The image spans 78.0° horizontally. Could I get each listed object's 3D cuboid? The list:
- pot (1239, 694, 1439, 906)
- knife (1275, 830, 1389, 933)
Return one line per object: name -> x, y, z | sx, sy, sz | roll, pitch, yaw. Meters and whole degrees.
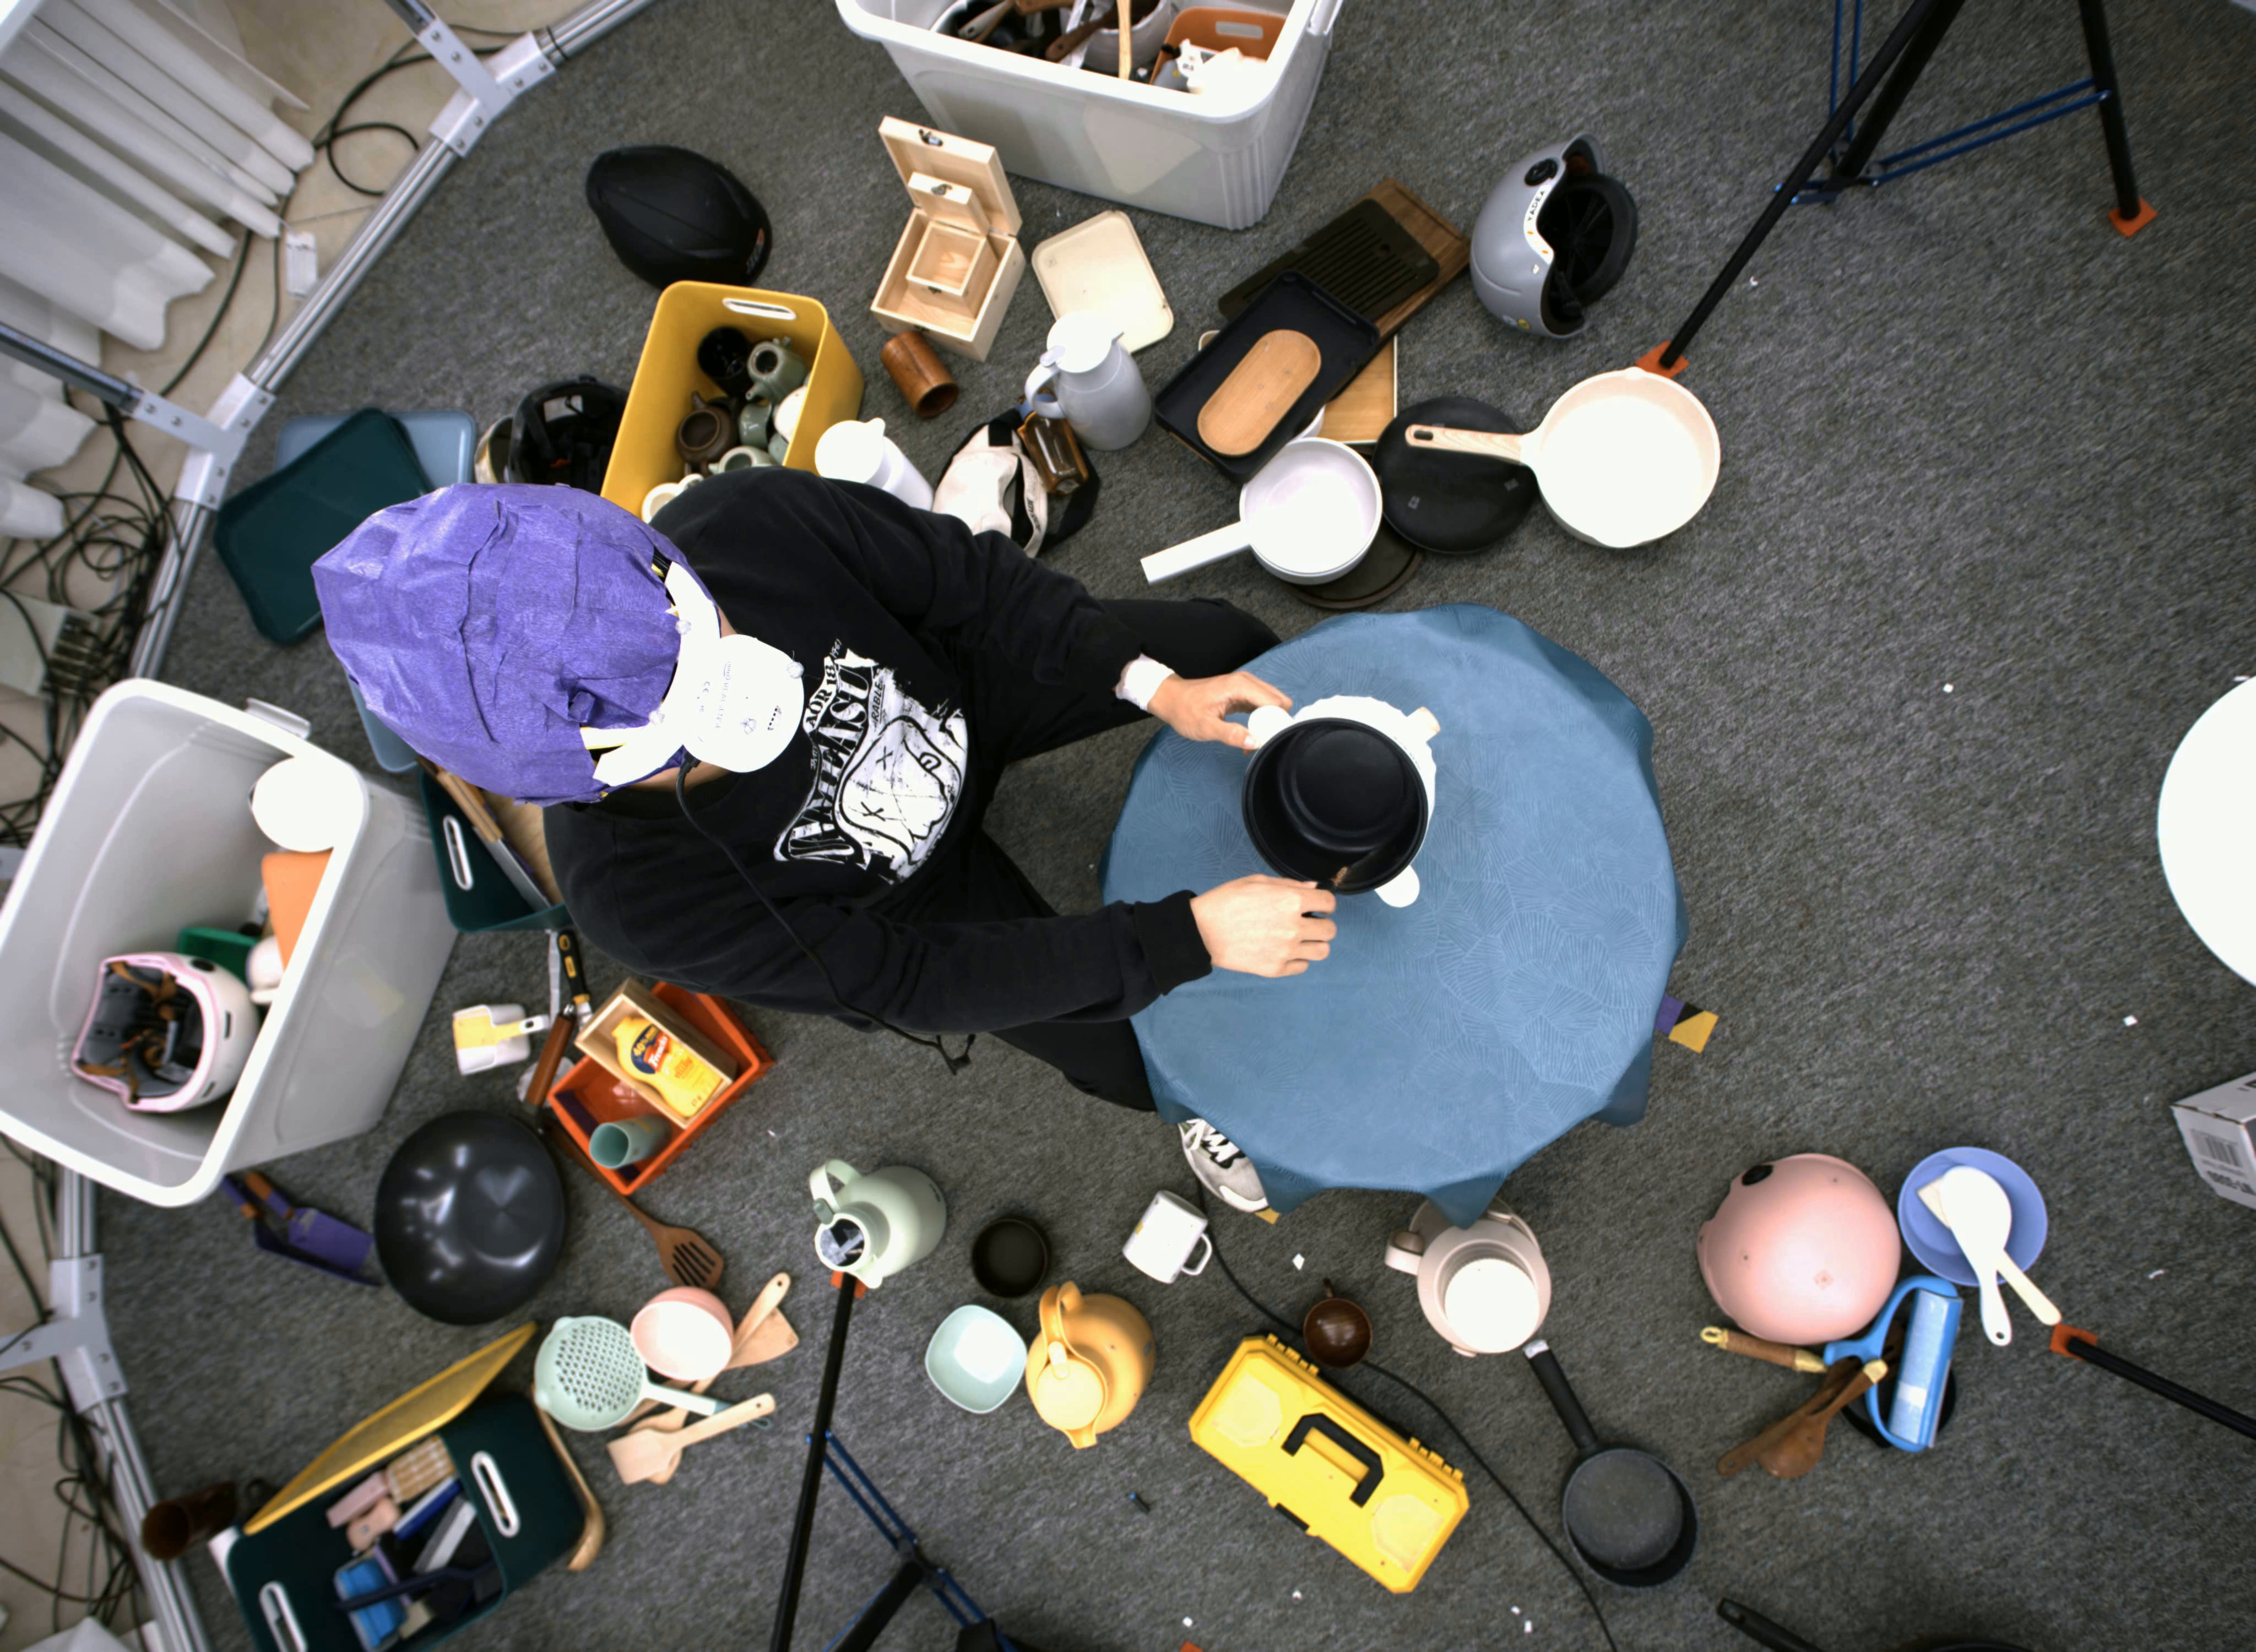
pot -> 0.220, -0.044, 1.377 | 0.194, 0.139, 0.241 | -38, 97, 32
knife -> 0.197, 0.049, 1.307 | 0.017, 0.221, 0.027 | 17, 120, 31
